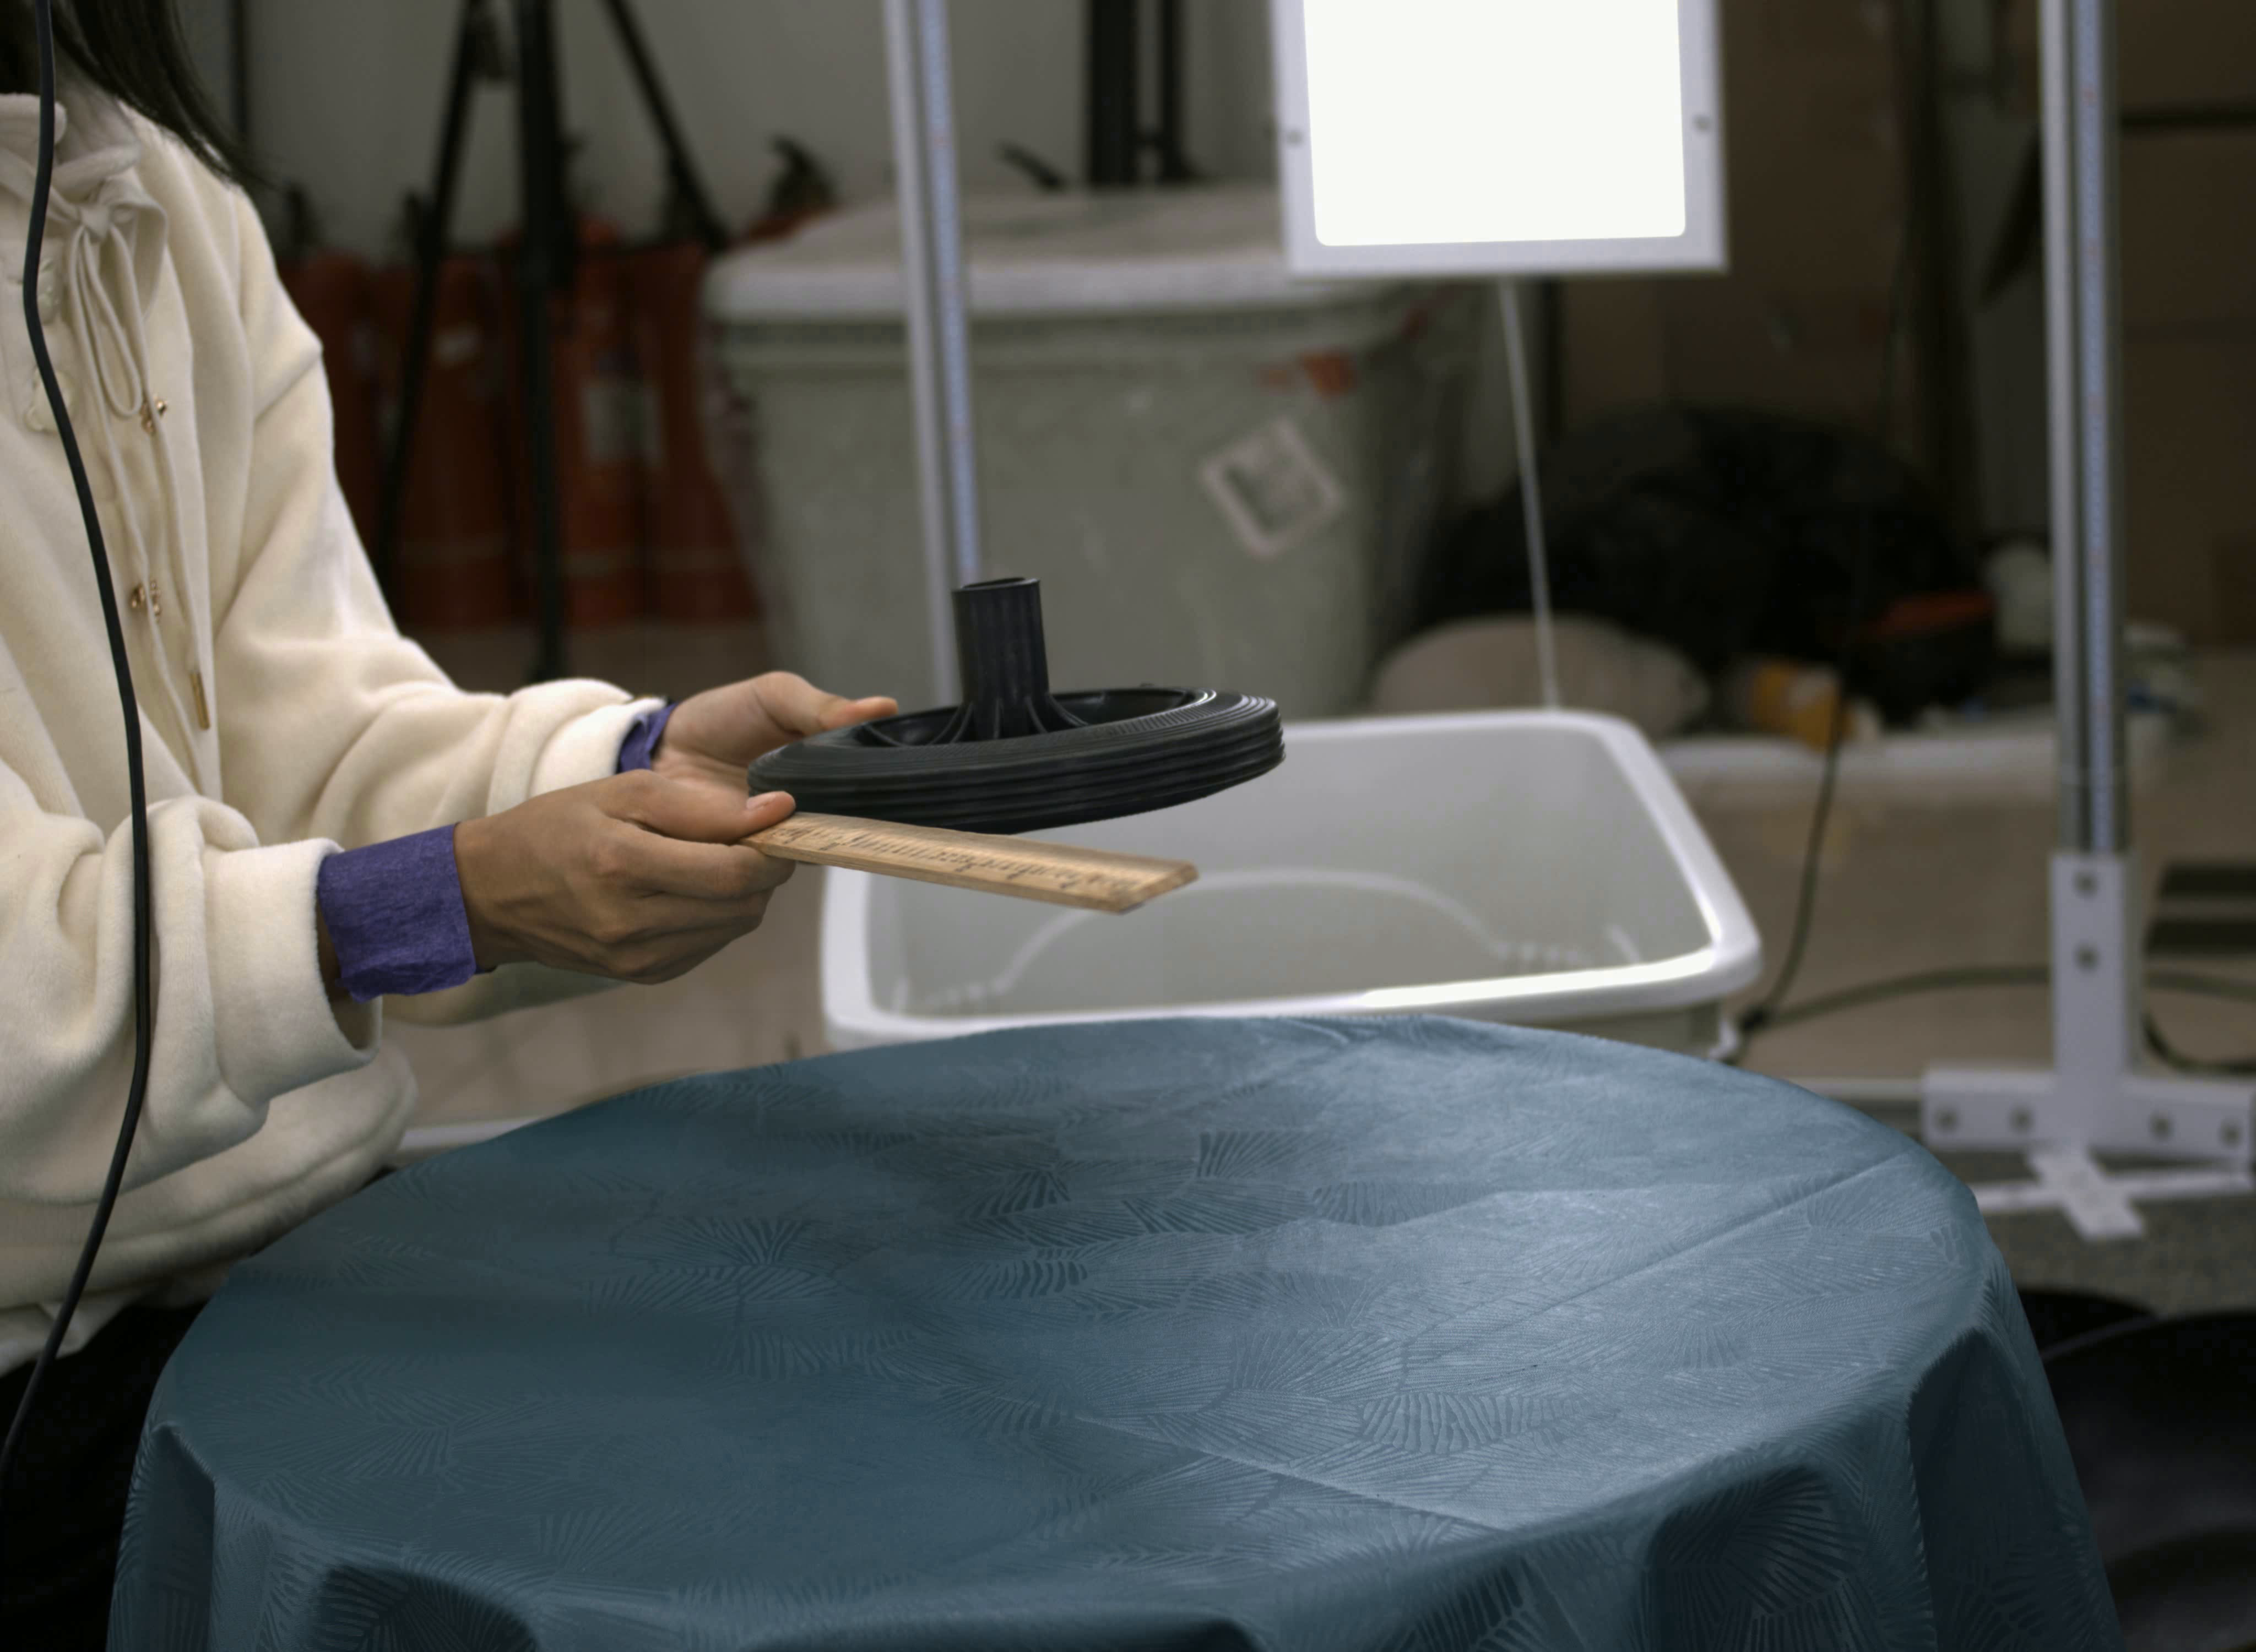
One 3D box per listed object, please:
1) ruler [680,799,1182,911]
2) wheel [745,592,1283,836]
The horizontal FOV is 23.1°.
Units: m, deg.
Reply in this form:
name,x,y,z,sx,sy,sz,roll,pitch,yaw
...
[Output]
name,x,y,z,sx,sy,sz,roll,pitch,yaw
ruler,-0.072,0.007,1.677,0.026,0.006,0.506,-26,9,-15
wheel,-0.042,-0.040,1.914,0.185,0.079,0.191,-8,6,-11
